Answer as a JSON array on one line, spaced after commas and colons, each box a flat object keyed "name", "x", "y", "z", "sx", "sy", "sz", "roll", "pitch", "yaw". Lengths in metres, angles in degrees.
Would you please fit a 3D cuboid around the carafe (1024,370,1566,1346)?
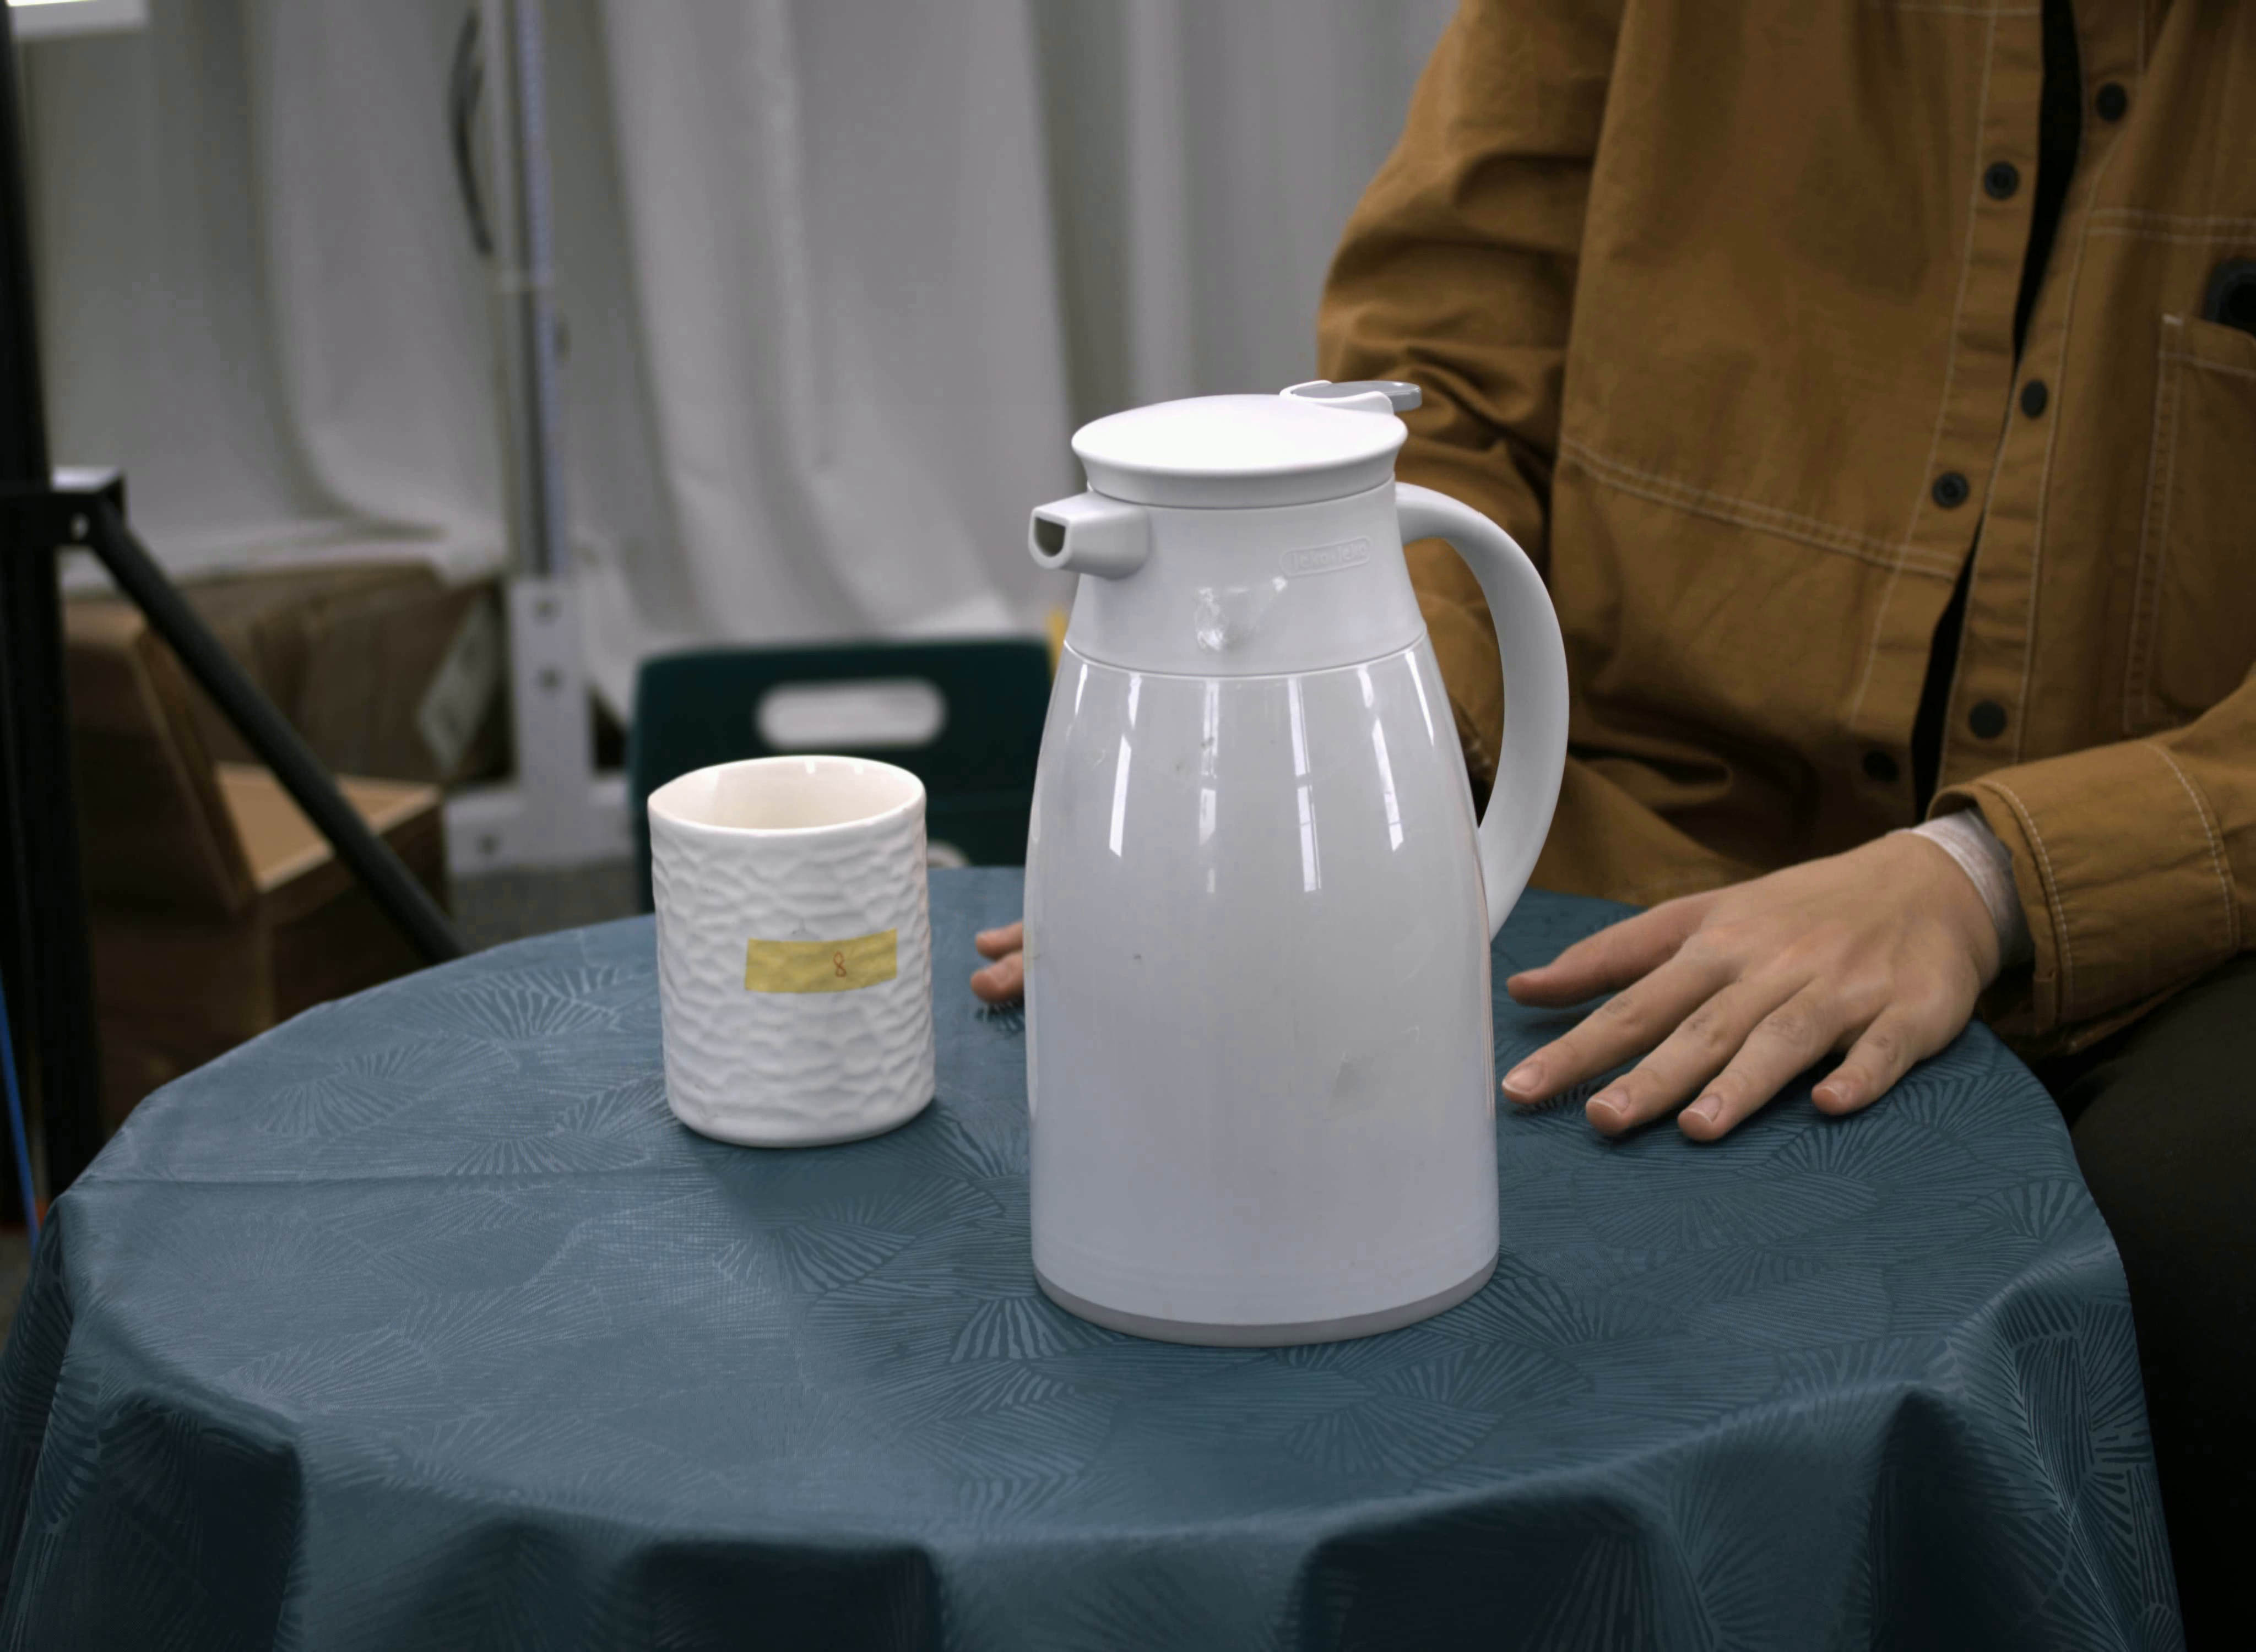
[{"name": "carafe", "x": 0.050, "y": 0.001, "z": 1.471, "sx": 0.164, "sy": 0.248, "sz": 0.135, "roll": -11, "pitch": 17, "yaw": -31}]

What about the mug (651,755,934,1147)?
[{"name": "mug", "x": -0.101, "y": 0.034, "z": 1.647, "sx": 0.085, "sy": 0.102, "sz": 0.118, "roll": 0, "pitch": 15, "yaw": 5}]
